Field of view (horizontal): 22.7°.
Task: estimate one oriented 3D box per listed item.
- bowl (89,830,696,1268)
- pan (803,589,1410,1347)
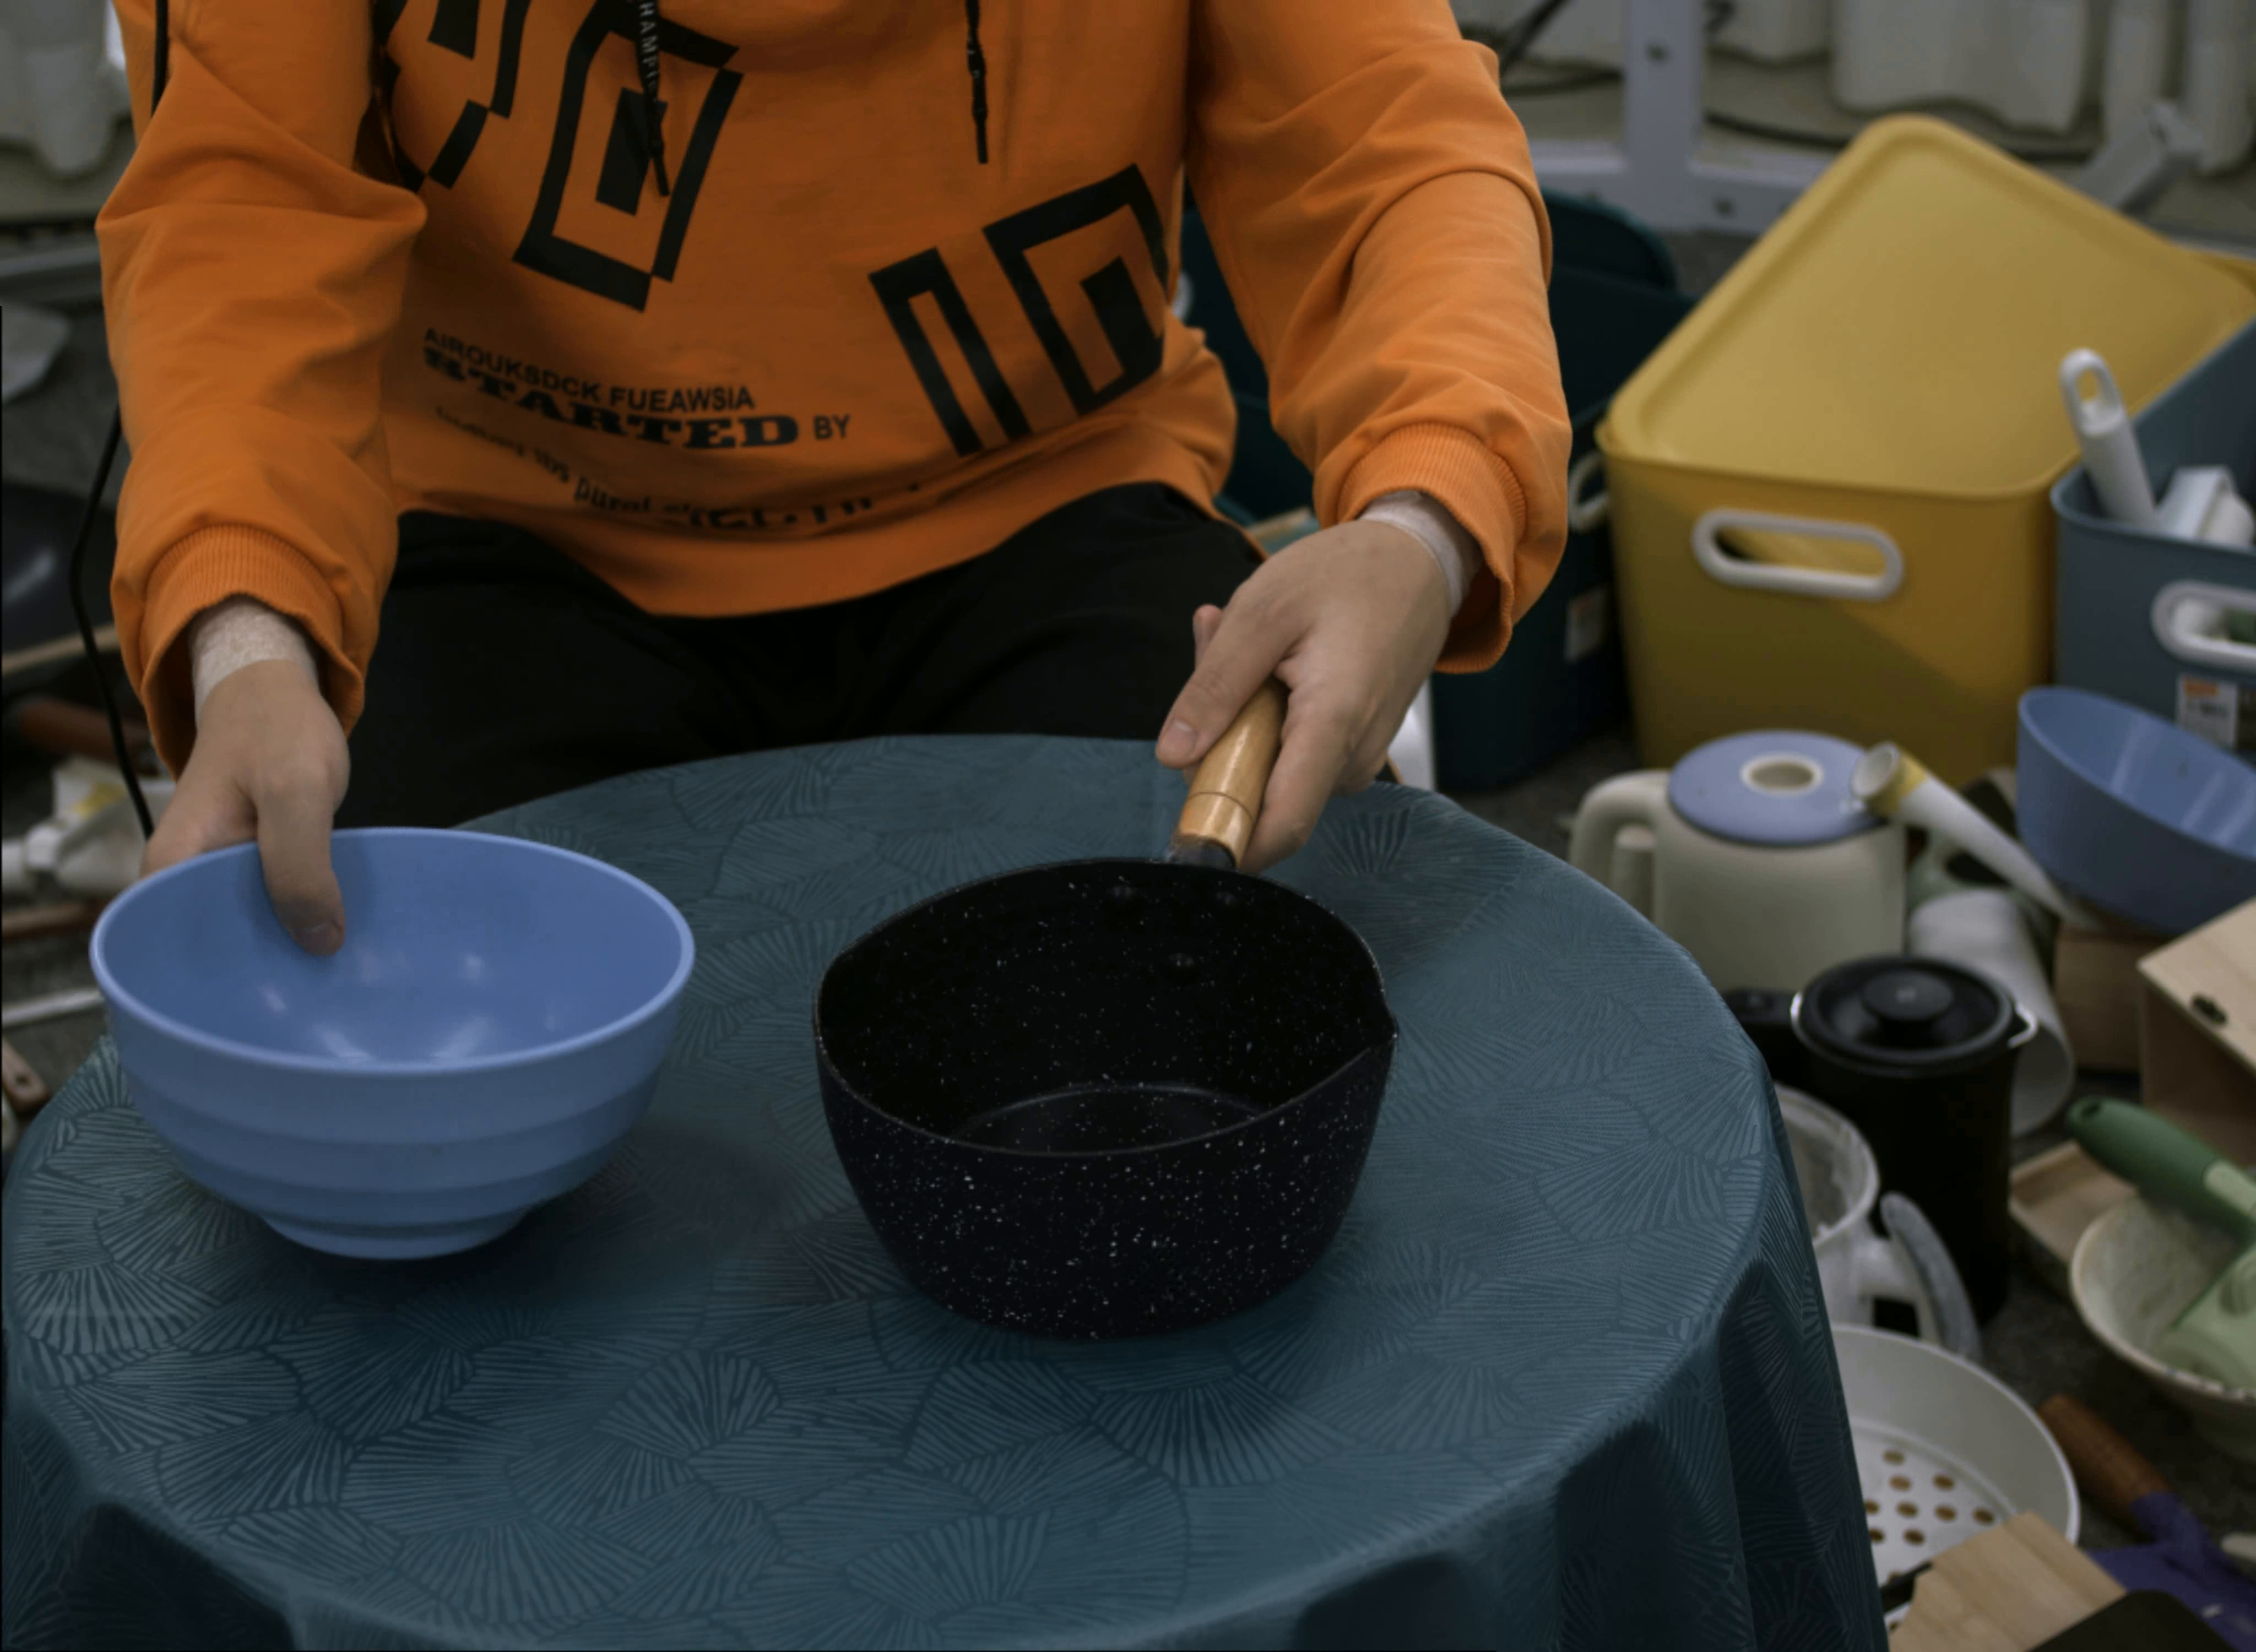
[{"bbox_3d":[-0.239,0.083,1.845,0.195,0.094,0.199,1,23,0],"label":"bowl"},{"bbox_3d":[0.014,0.044,1.888,0.206,0.107,0.349,4,30,16],"label":"pan"}]
